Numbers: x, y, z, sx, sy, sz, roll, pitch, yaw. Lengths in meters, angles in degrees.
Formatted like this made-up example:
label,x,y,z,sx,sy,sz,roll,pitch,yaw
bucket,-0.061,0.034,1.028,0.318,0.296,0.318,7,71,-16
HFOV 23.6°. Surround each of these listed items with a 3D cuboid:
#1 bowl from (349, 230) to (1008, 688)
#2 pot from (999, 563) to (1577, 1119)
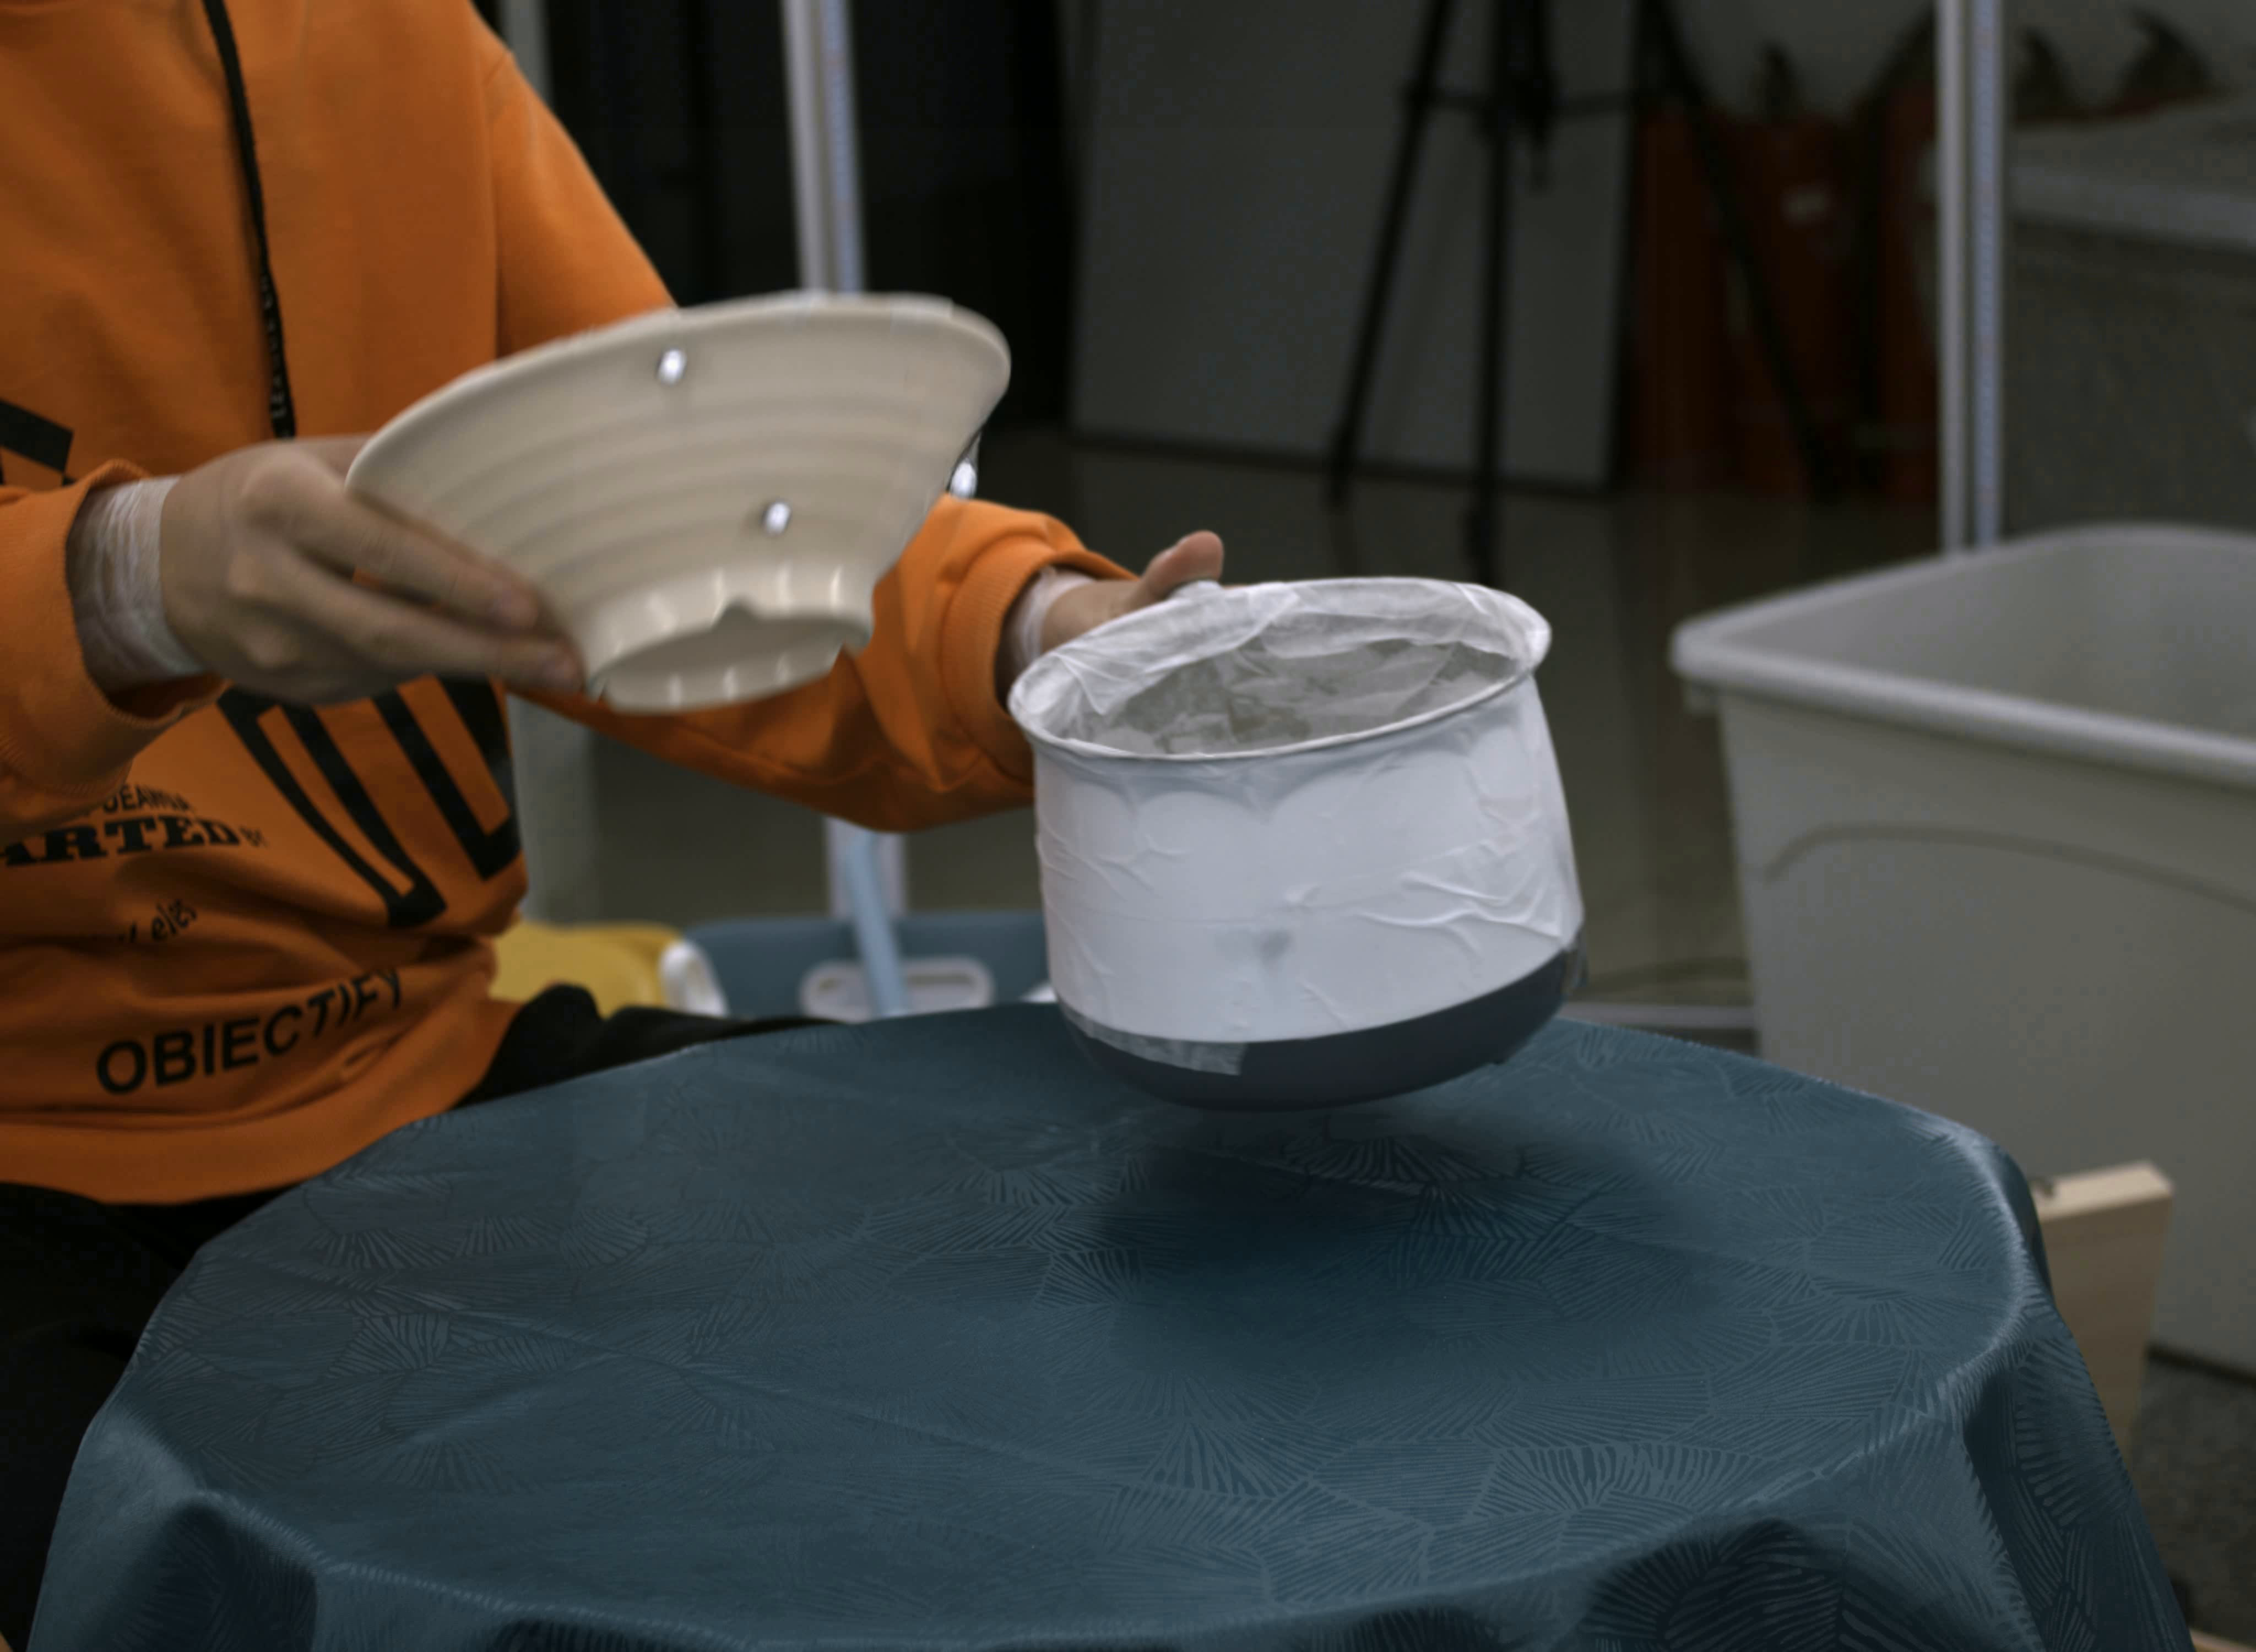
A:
label,x,y,z,sx,sy,sz,roll,pitch,yaw
bowl,-0.123,-0.094,1.600,0.201,0.079,0.204,-15,-17,-6
pot,0.046,-0.003,1.775,0.175,0.138,0.235,-12,19,-12
